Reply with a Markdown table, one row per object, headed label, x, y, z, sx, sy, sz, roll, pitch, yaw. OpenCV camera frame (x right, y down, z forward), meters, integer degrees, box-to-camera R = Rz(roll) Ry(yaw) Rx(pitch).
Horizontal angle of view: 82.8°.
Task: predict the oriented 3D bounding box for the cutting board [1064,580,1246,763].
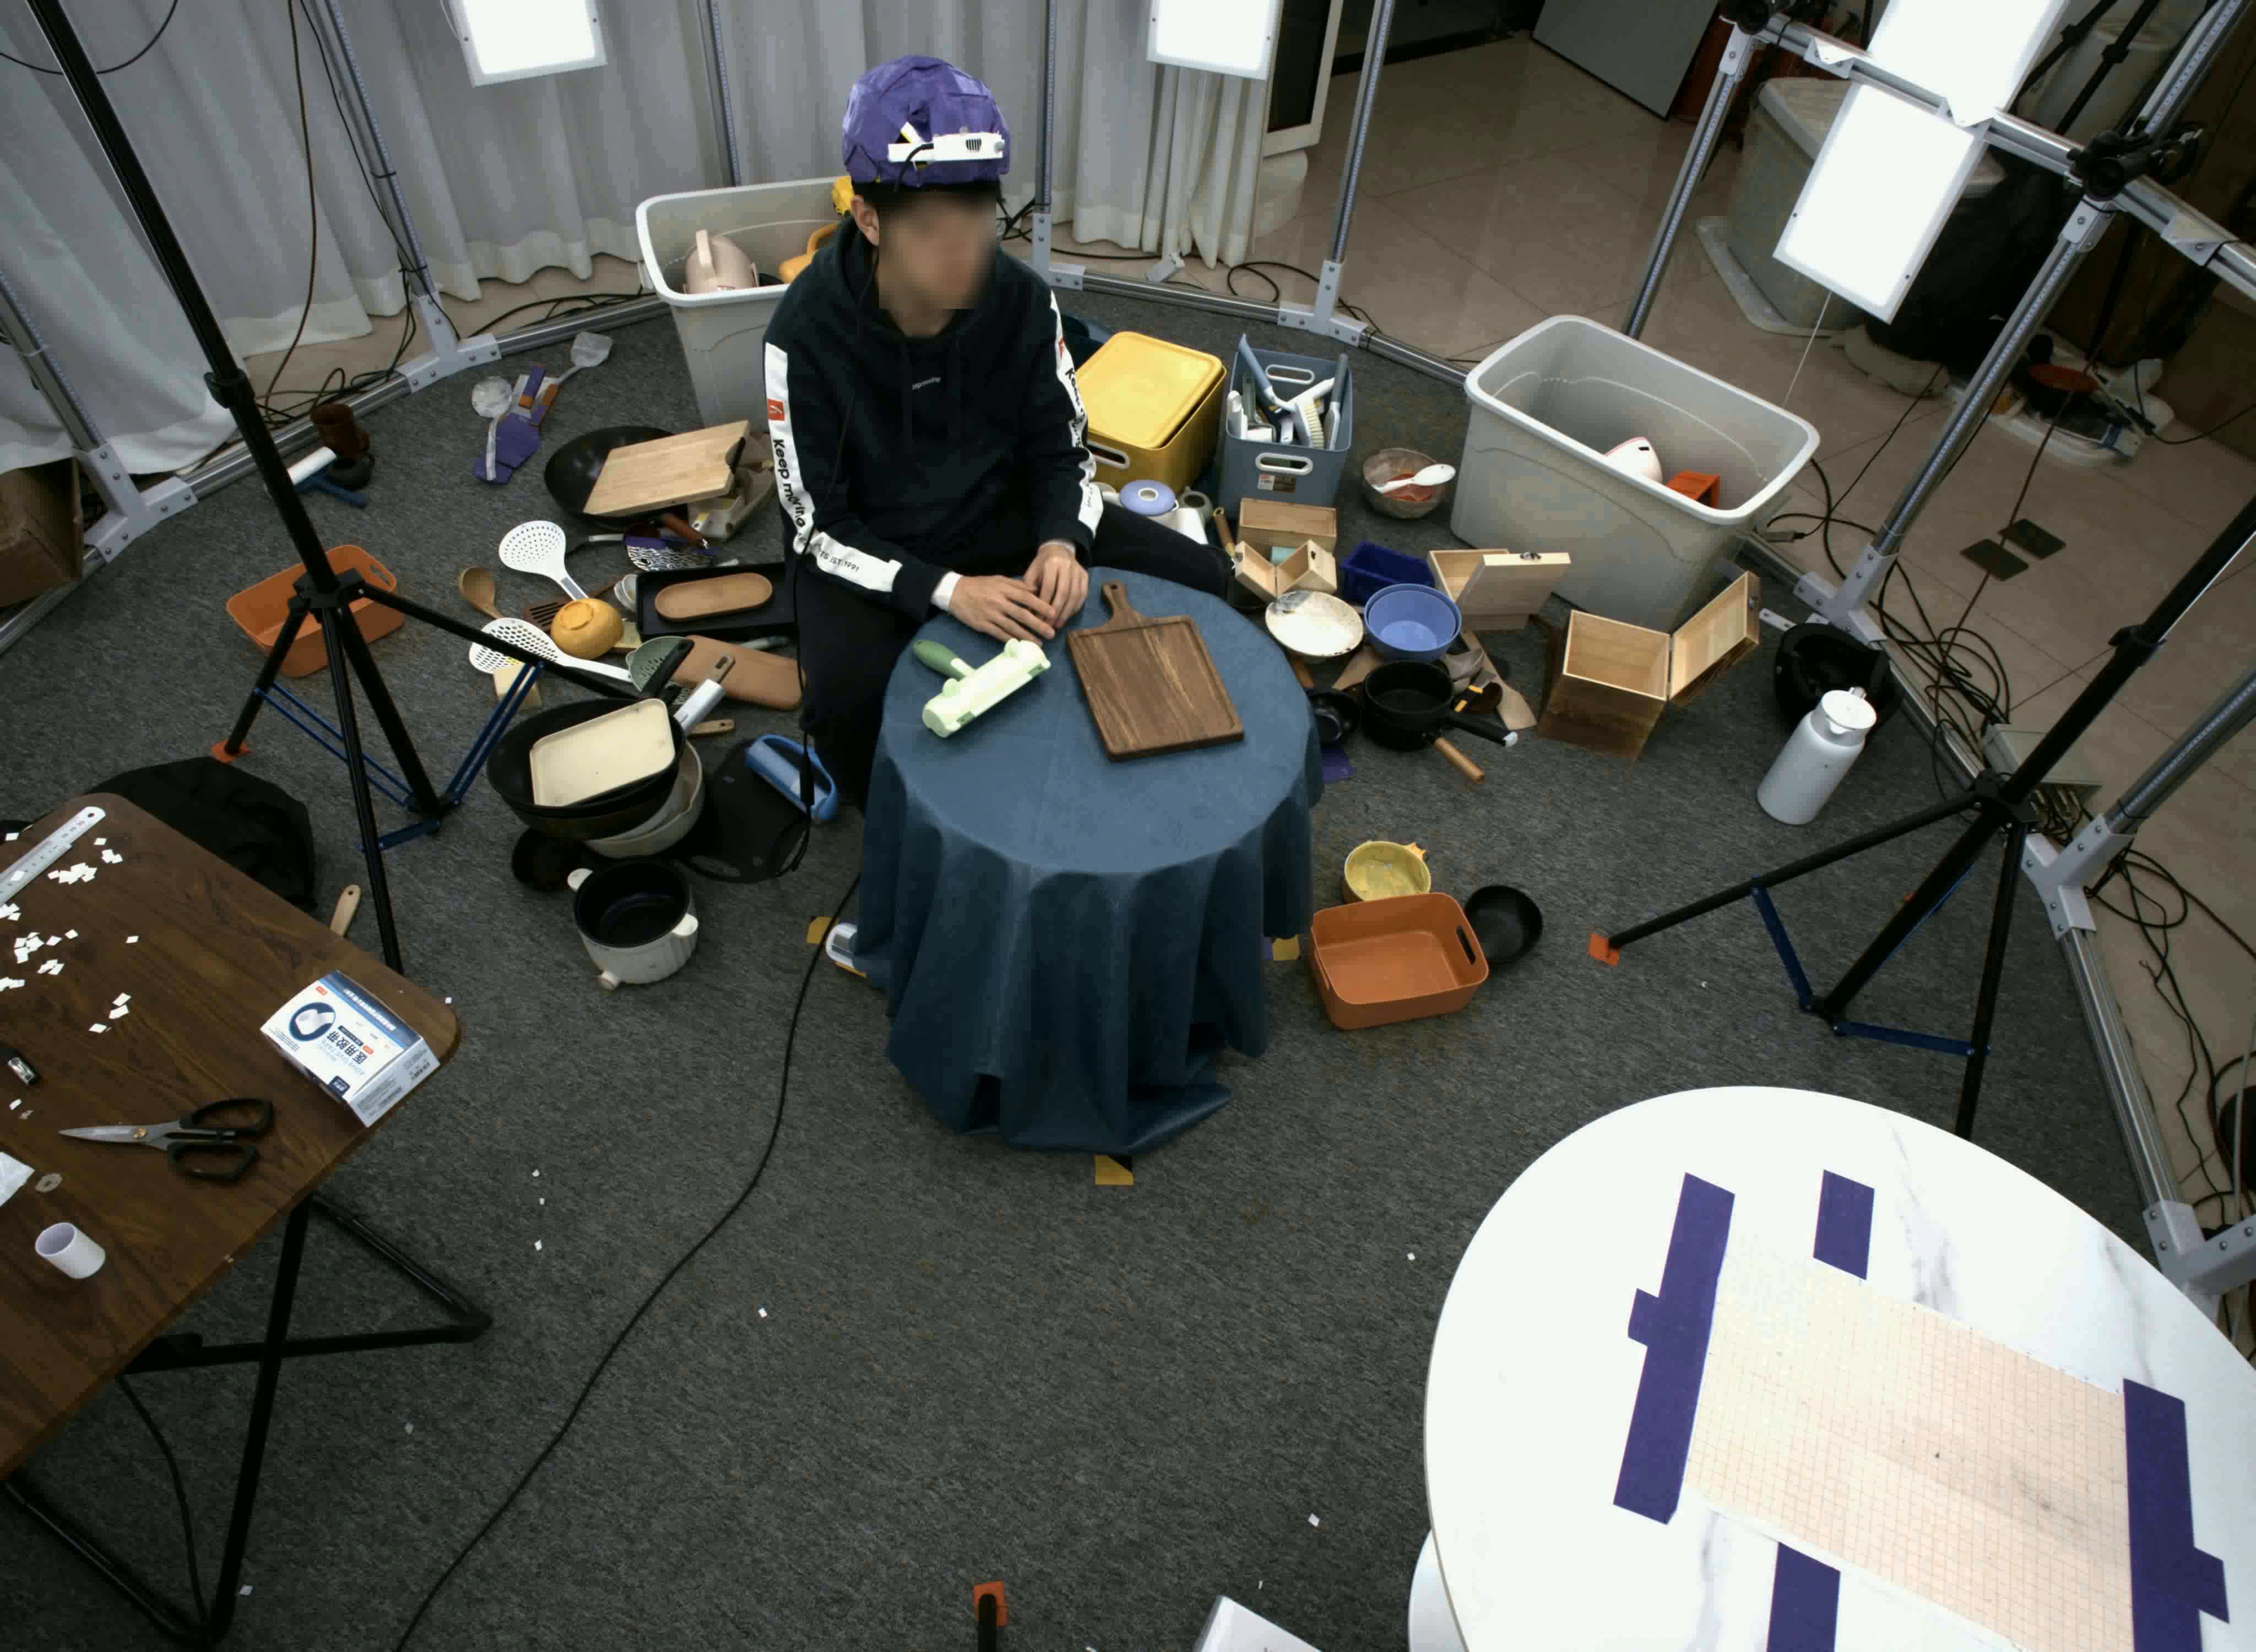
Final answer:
| label | x | y | z | sx | sy | sz | roll | pitch | yaw |
| --- | --- | --- | --- | --- | --- | --- | --- | --- | --- |
| cutting board | 0.021 | -0.238 | 1.863 | 0.201 | 0.022 | 0.361 | -10 | 50 | -13 |

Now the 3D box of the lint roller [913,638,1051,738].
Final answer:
| label | x | y | z | sx | sy | sz | roll | pitch | yaw |
| --- | --- | --- | --- | --- | --- | --- | --- | --- | --- |
| lint roller | -0.237 | -0.230 | 1.802 | 0.186 | 0.080 | 0.200 | 39 | 58 | 21 |
